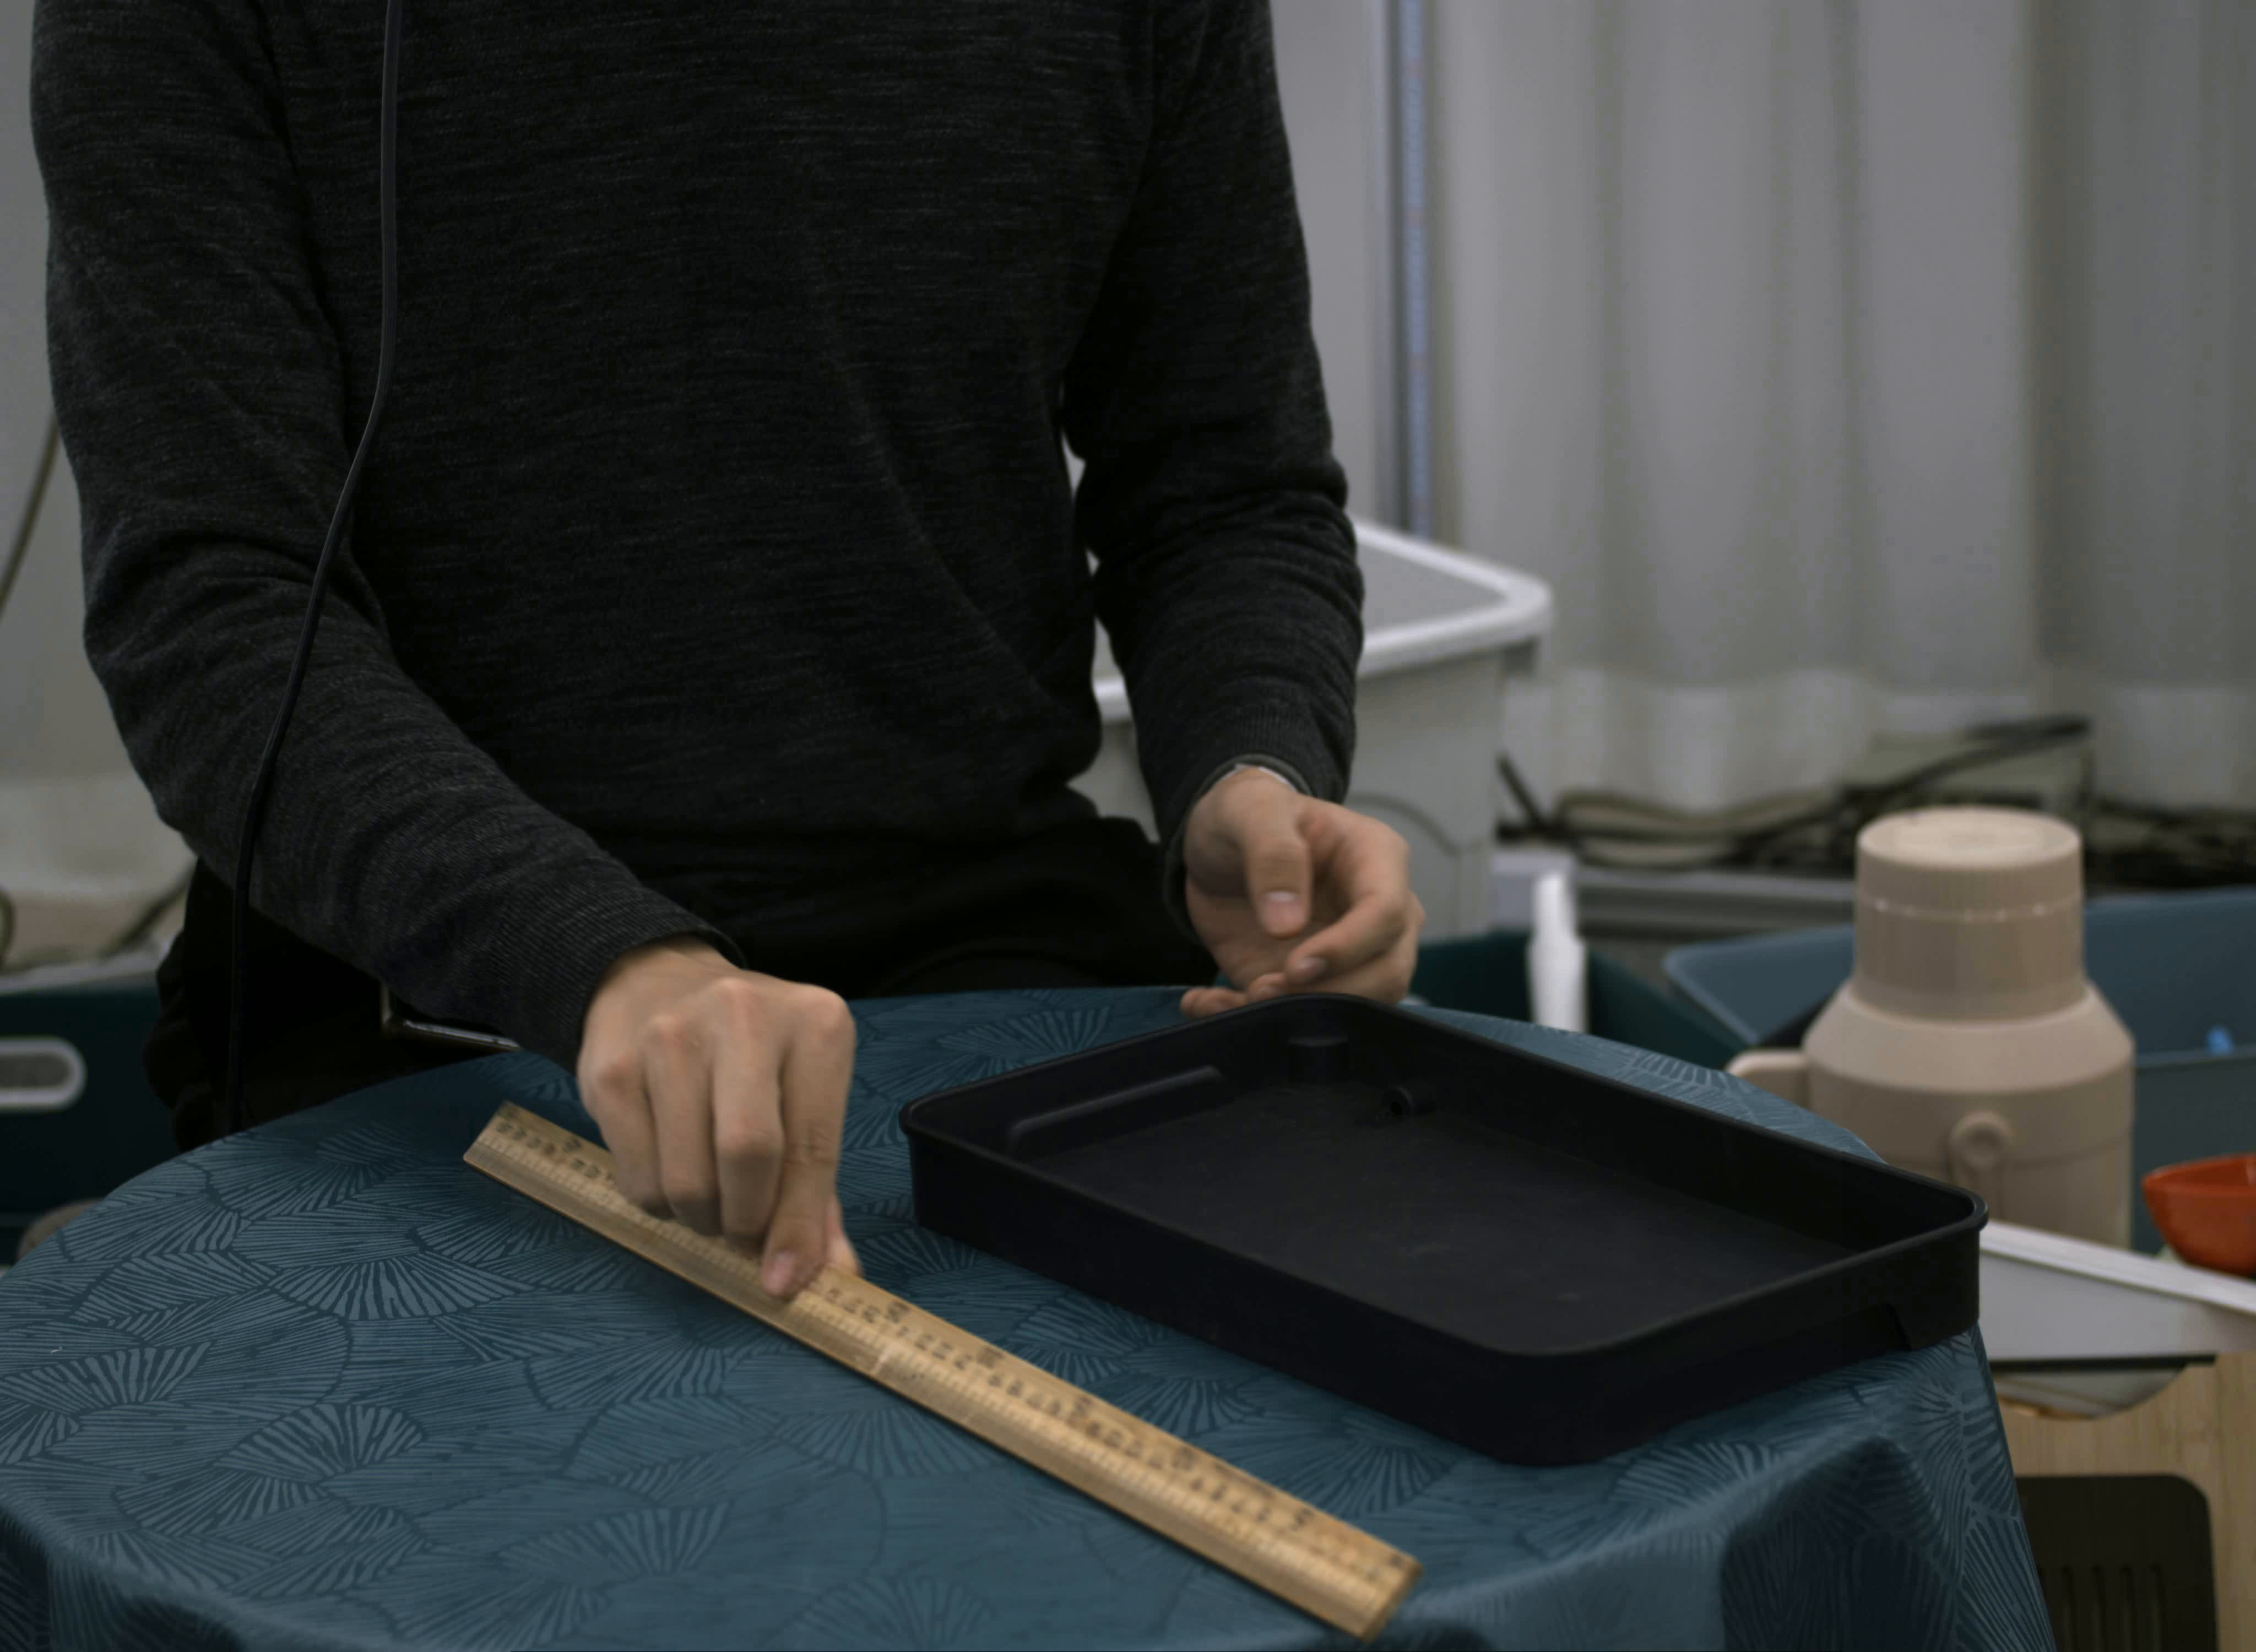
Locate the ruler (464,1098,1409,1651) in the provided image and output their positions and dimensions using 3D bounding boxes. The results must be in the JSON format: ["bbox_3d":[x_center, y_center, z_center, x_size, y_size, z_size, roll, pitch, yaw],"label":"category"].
[{"bbox_3d":[-0.071,0.146,1.567,0.006,0.027,0.504,42,-13,-33],"label":"ruler"}]

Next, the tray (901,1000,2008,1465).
[{"bbox_3d":[0.091,0.115,1.626,0.184,0.037,0.320,-14,18,-36],"label":"tray"}]
